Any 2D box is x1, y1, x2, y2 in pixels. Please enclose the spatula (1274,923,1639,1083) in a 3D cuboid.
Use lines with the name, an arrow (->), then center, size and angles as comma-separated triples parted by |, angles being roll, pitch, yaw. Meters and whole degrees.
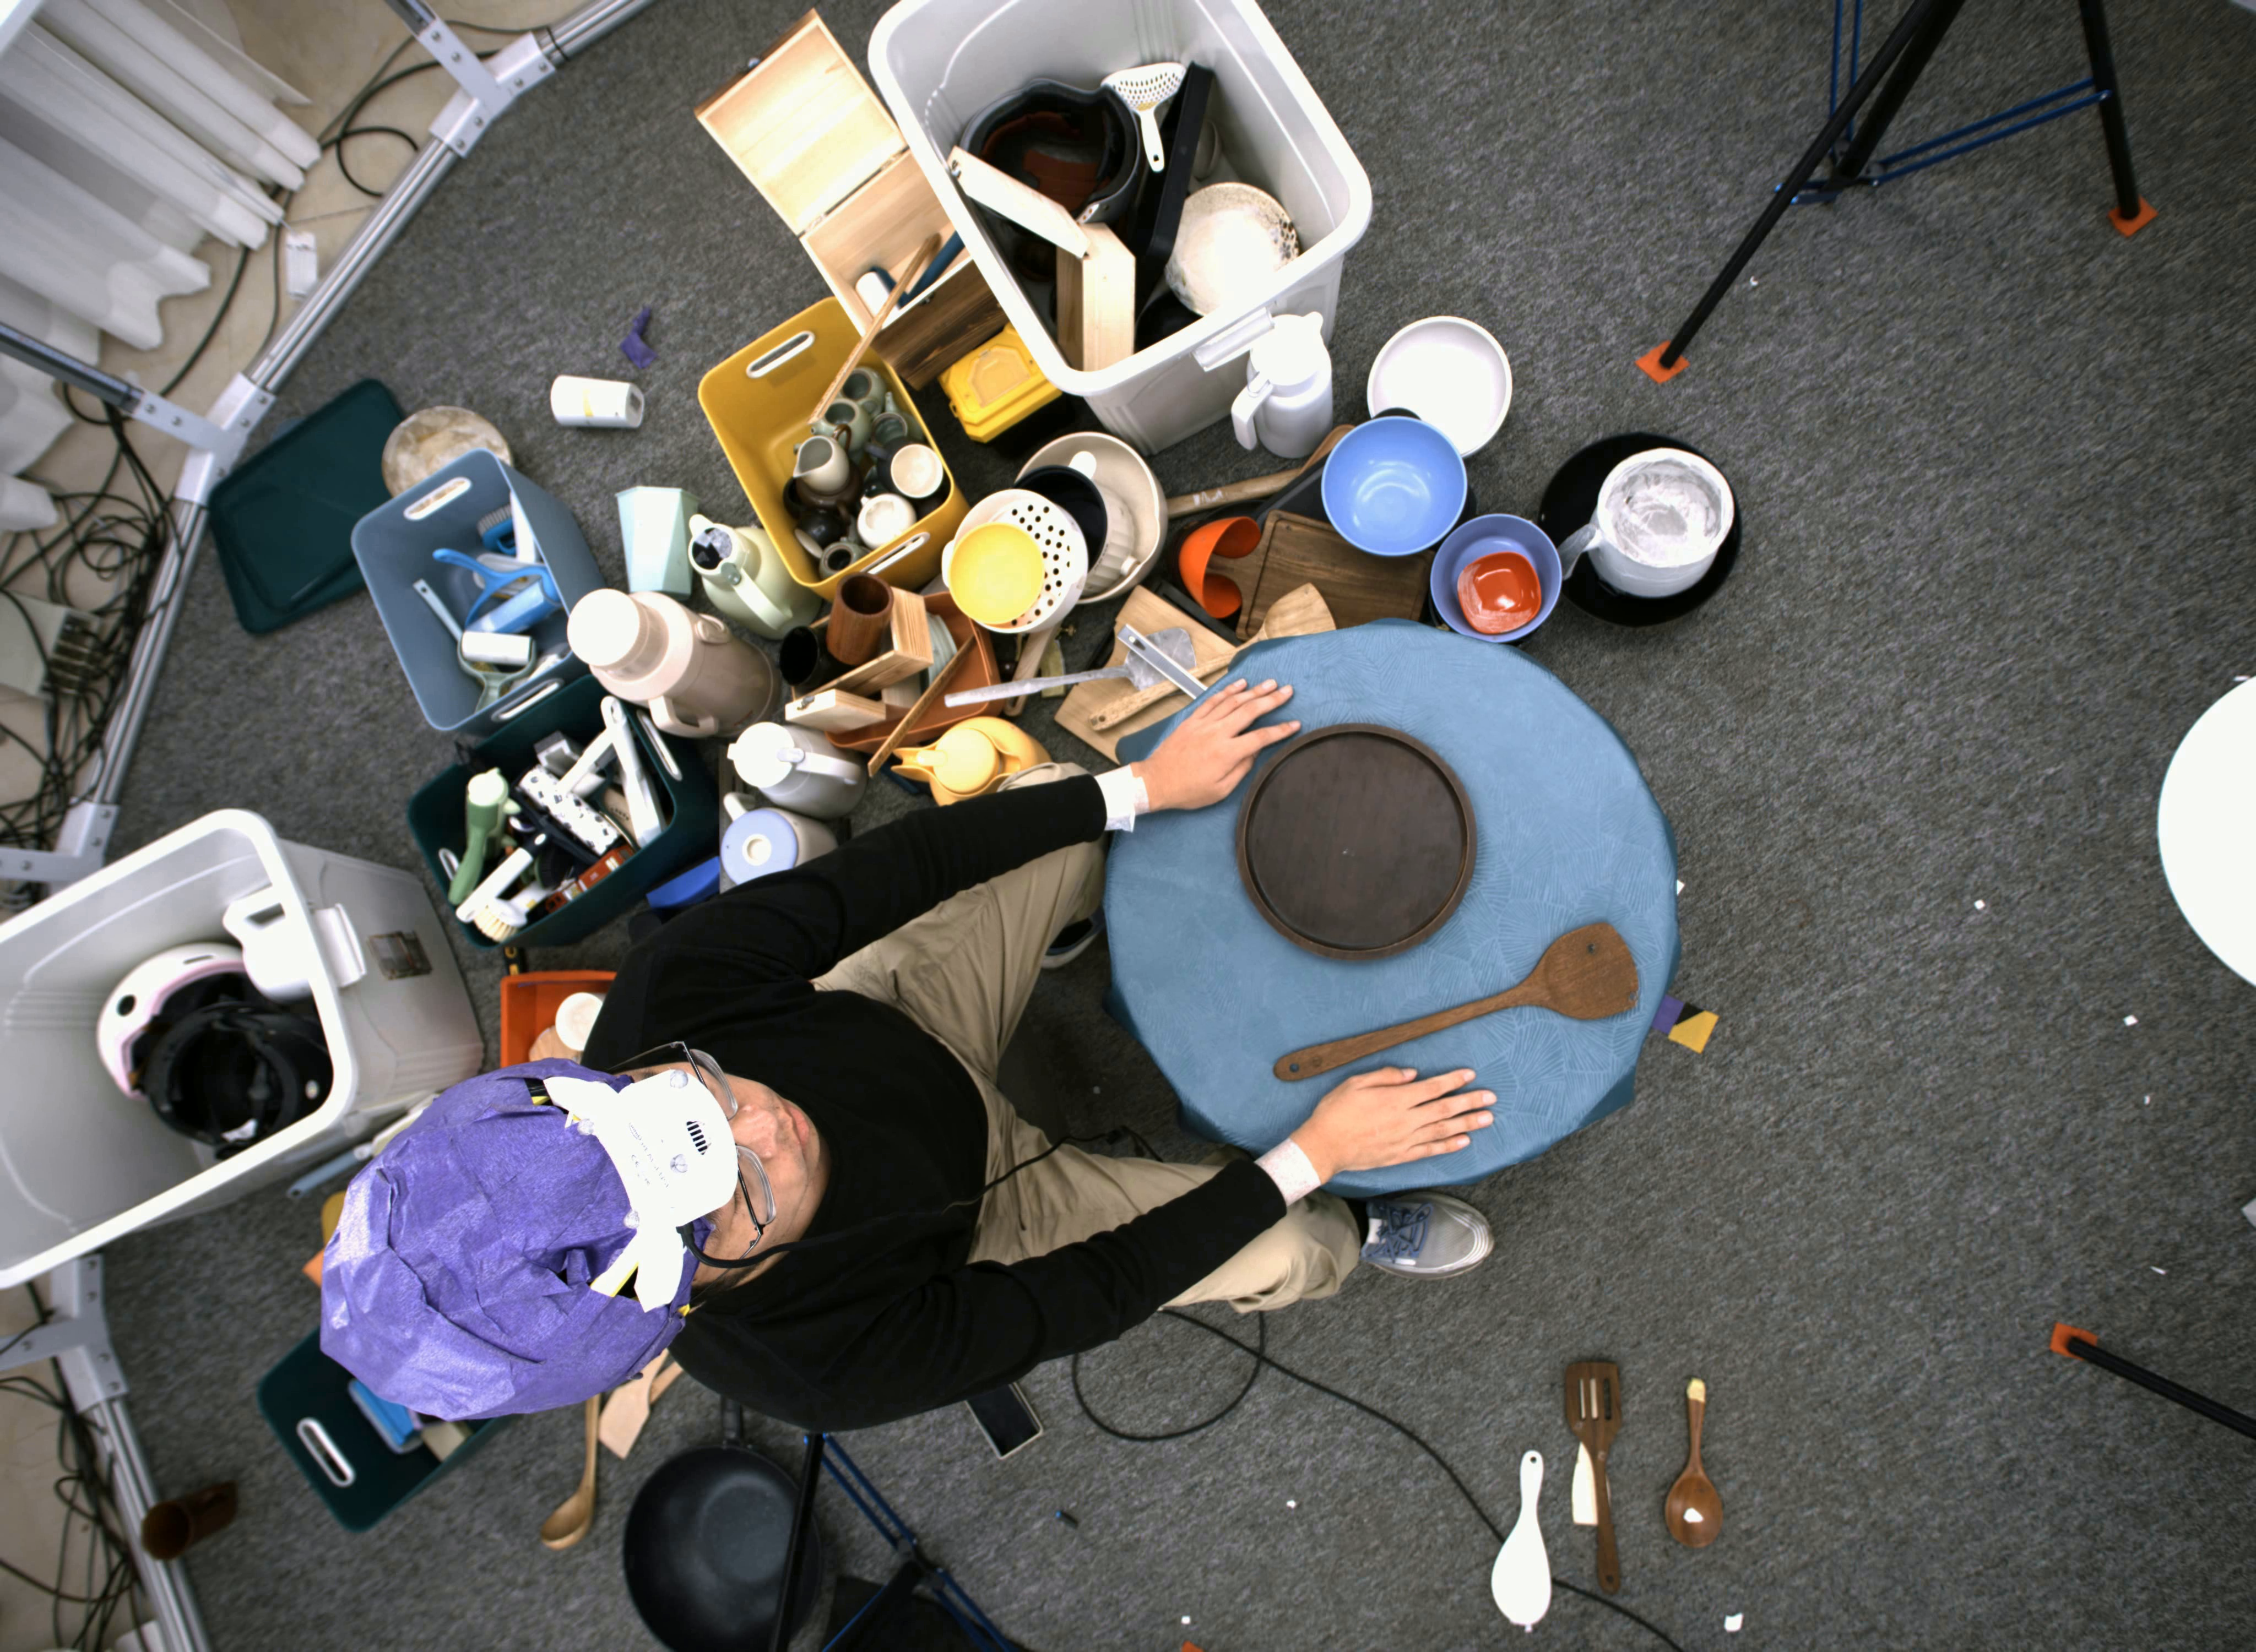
spatula -> 0.335, 0.198, 1.434 | 0.388, 0.016, 0.095 | -19, 83, 9

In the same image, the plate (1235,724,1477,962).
plate -> 0.239, 0.016, 1.458 | 0.256, 0.029, 0.254 | -1, 87, 9
